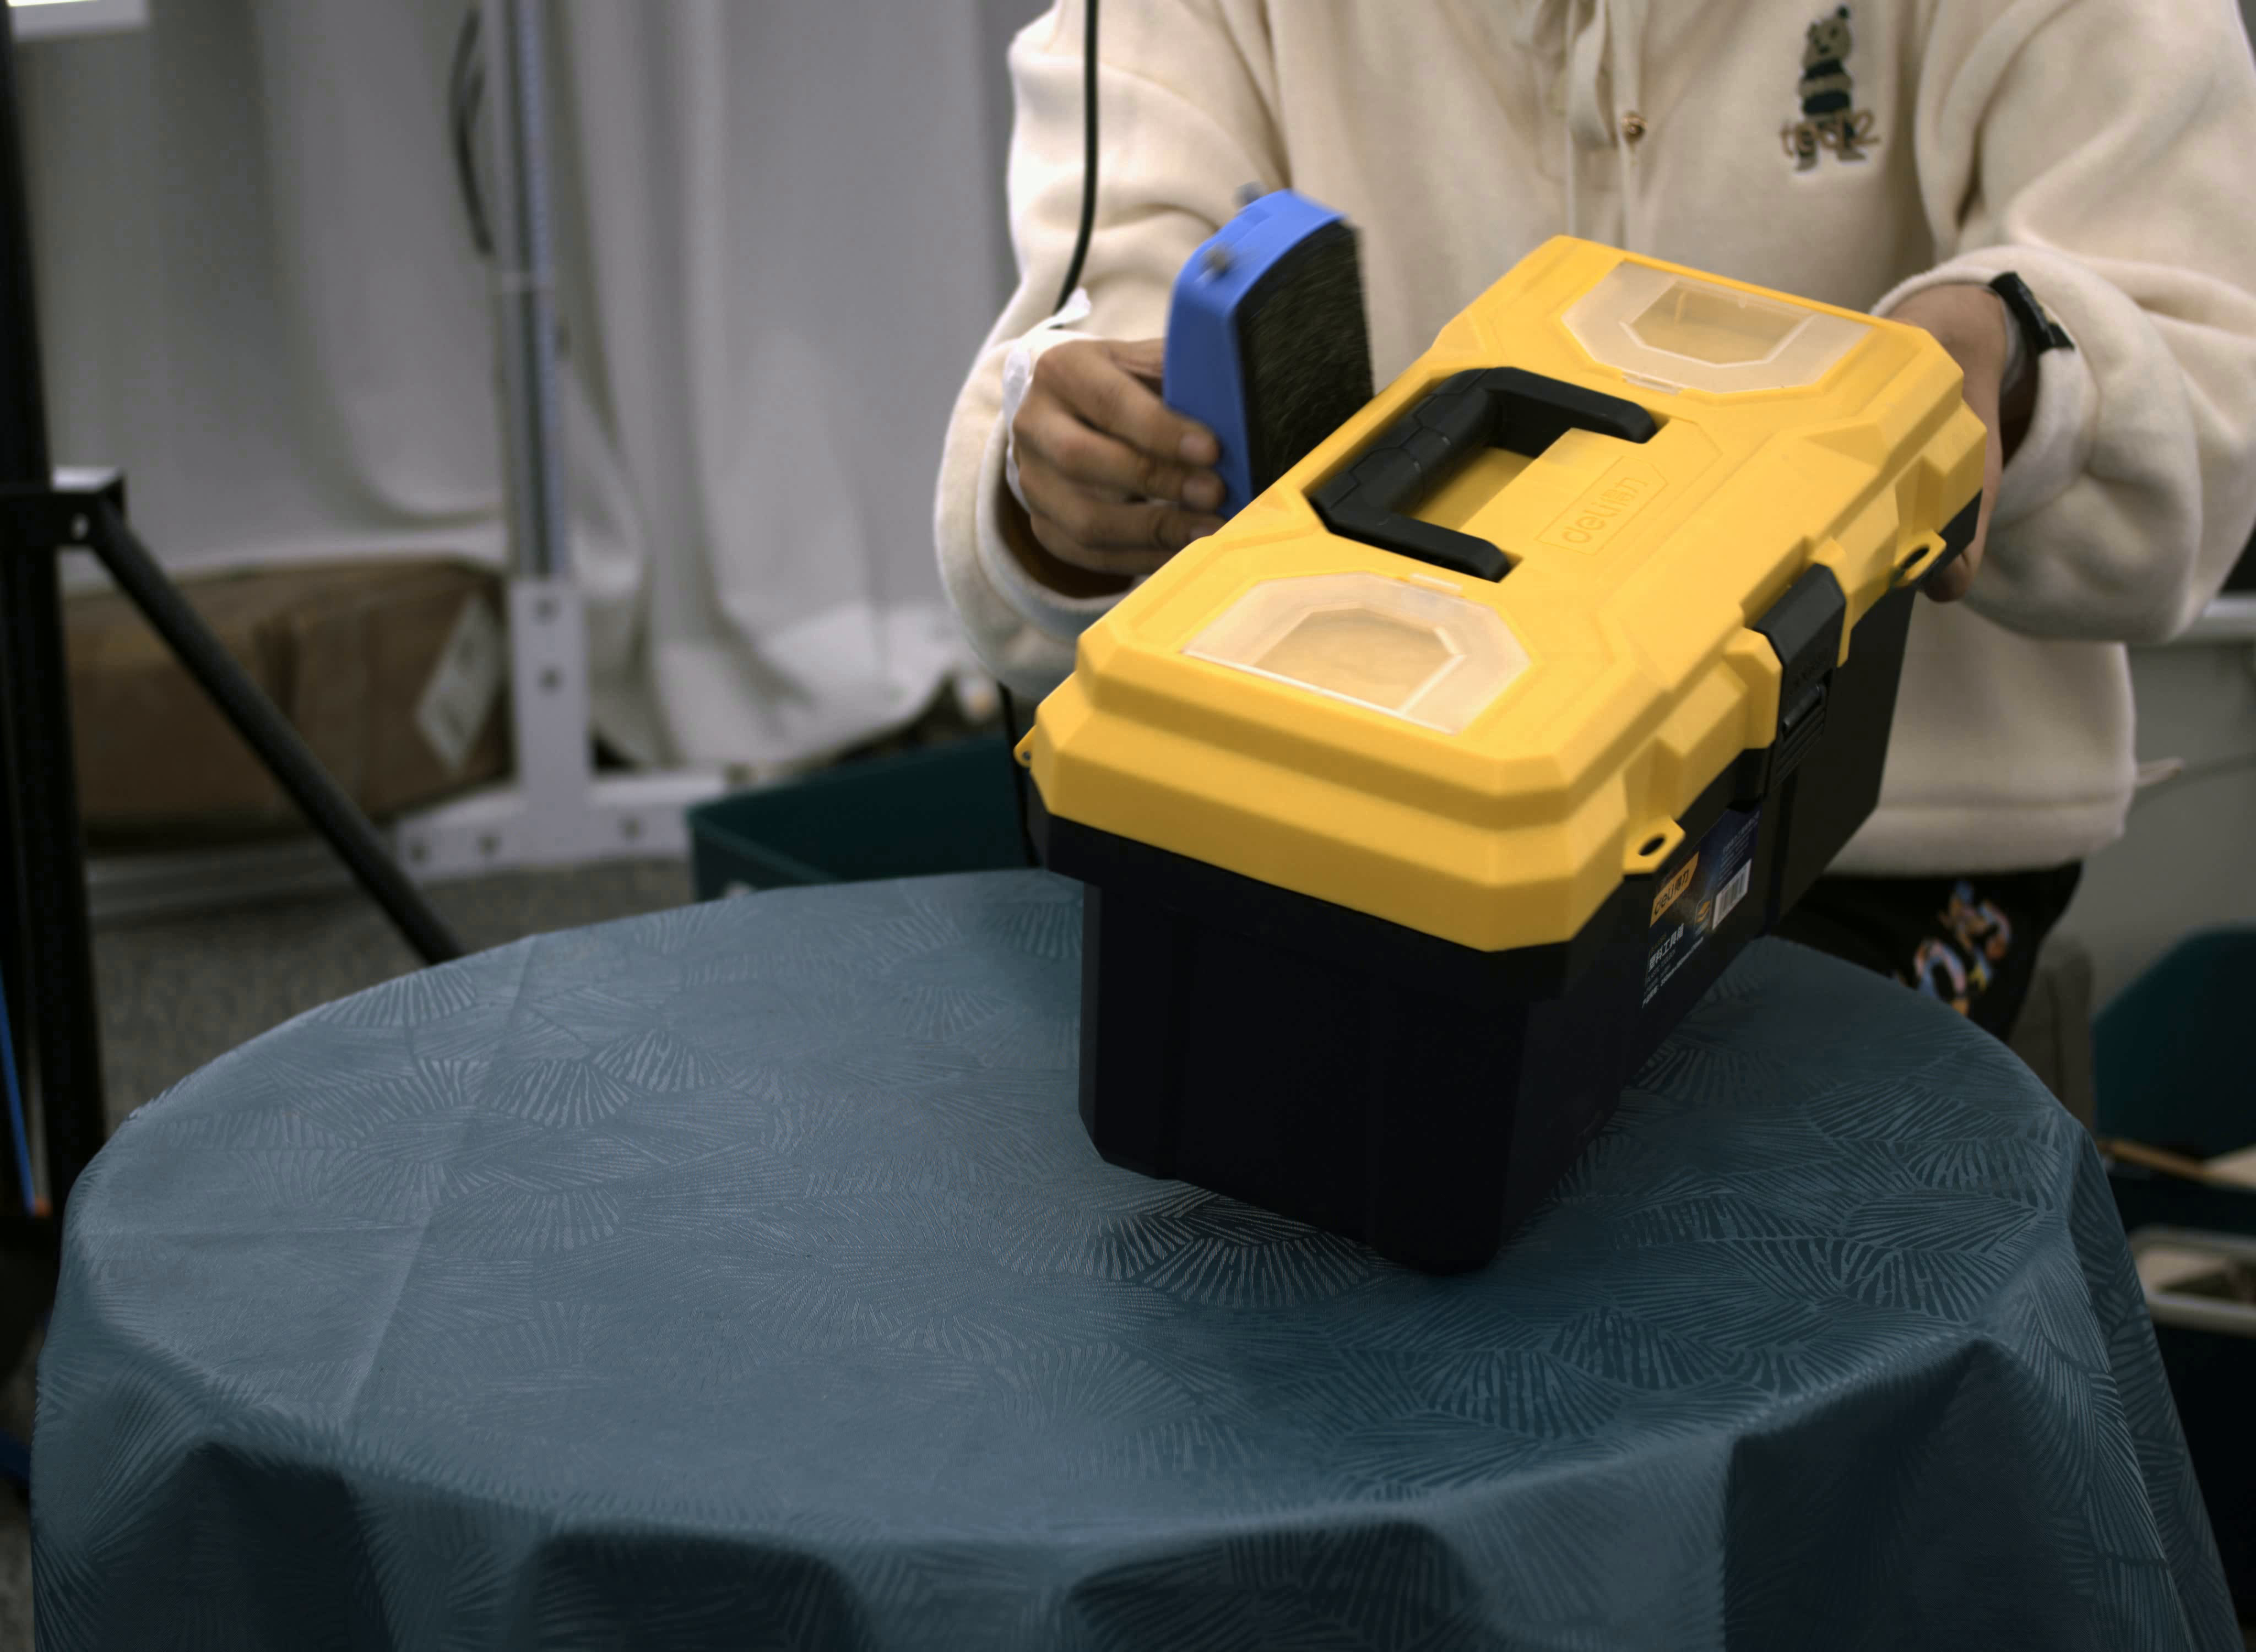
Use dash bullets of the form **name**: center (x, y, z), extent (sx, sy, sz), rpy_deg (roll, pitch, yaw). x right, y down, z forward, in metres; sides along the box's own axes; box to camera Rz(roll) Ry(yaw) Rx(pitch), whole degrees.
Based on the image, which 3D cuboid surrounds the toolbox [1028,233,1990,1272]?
- **toolbox**: center (0.117, -0.028, 1.572), extent (0.184, 0.172, 0.347), rpy_deg (17, 33, 23)

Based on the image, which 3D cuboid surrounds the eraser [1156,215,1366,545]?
- **eraser**: center (0.040, -0.121, 1.620), extent (0.048, 0.160, 0.053), rpy_deg (29, 68, 20)
